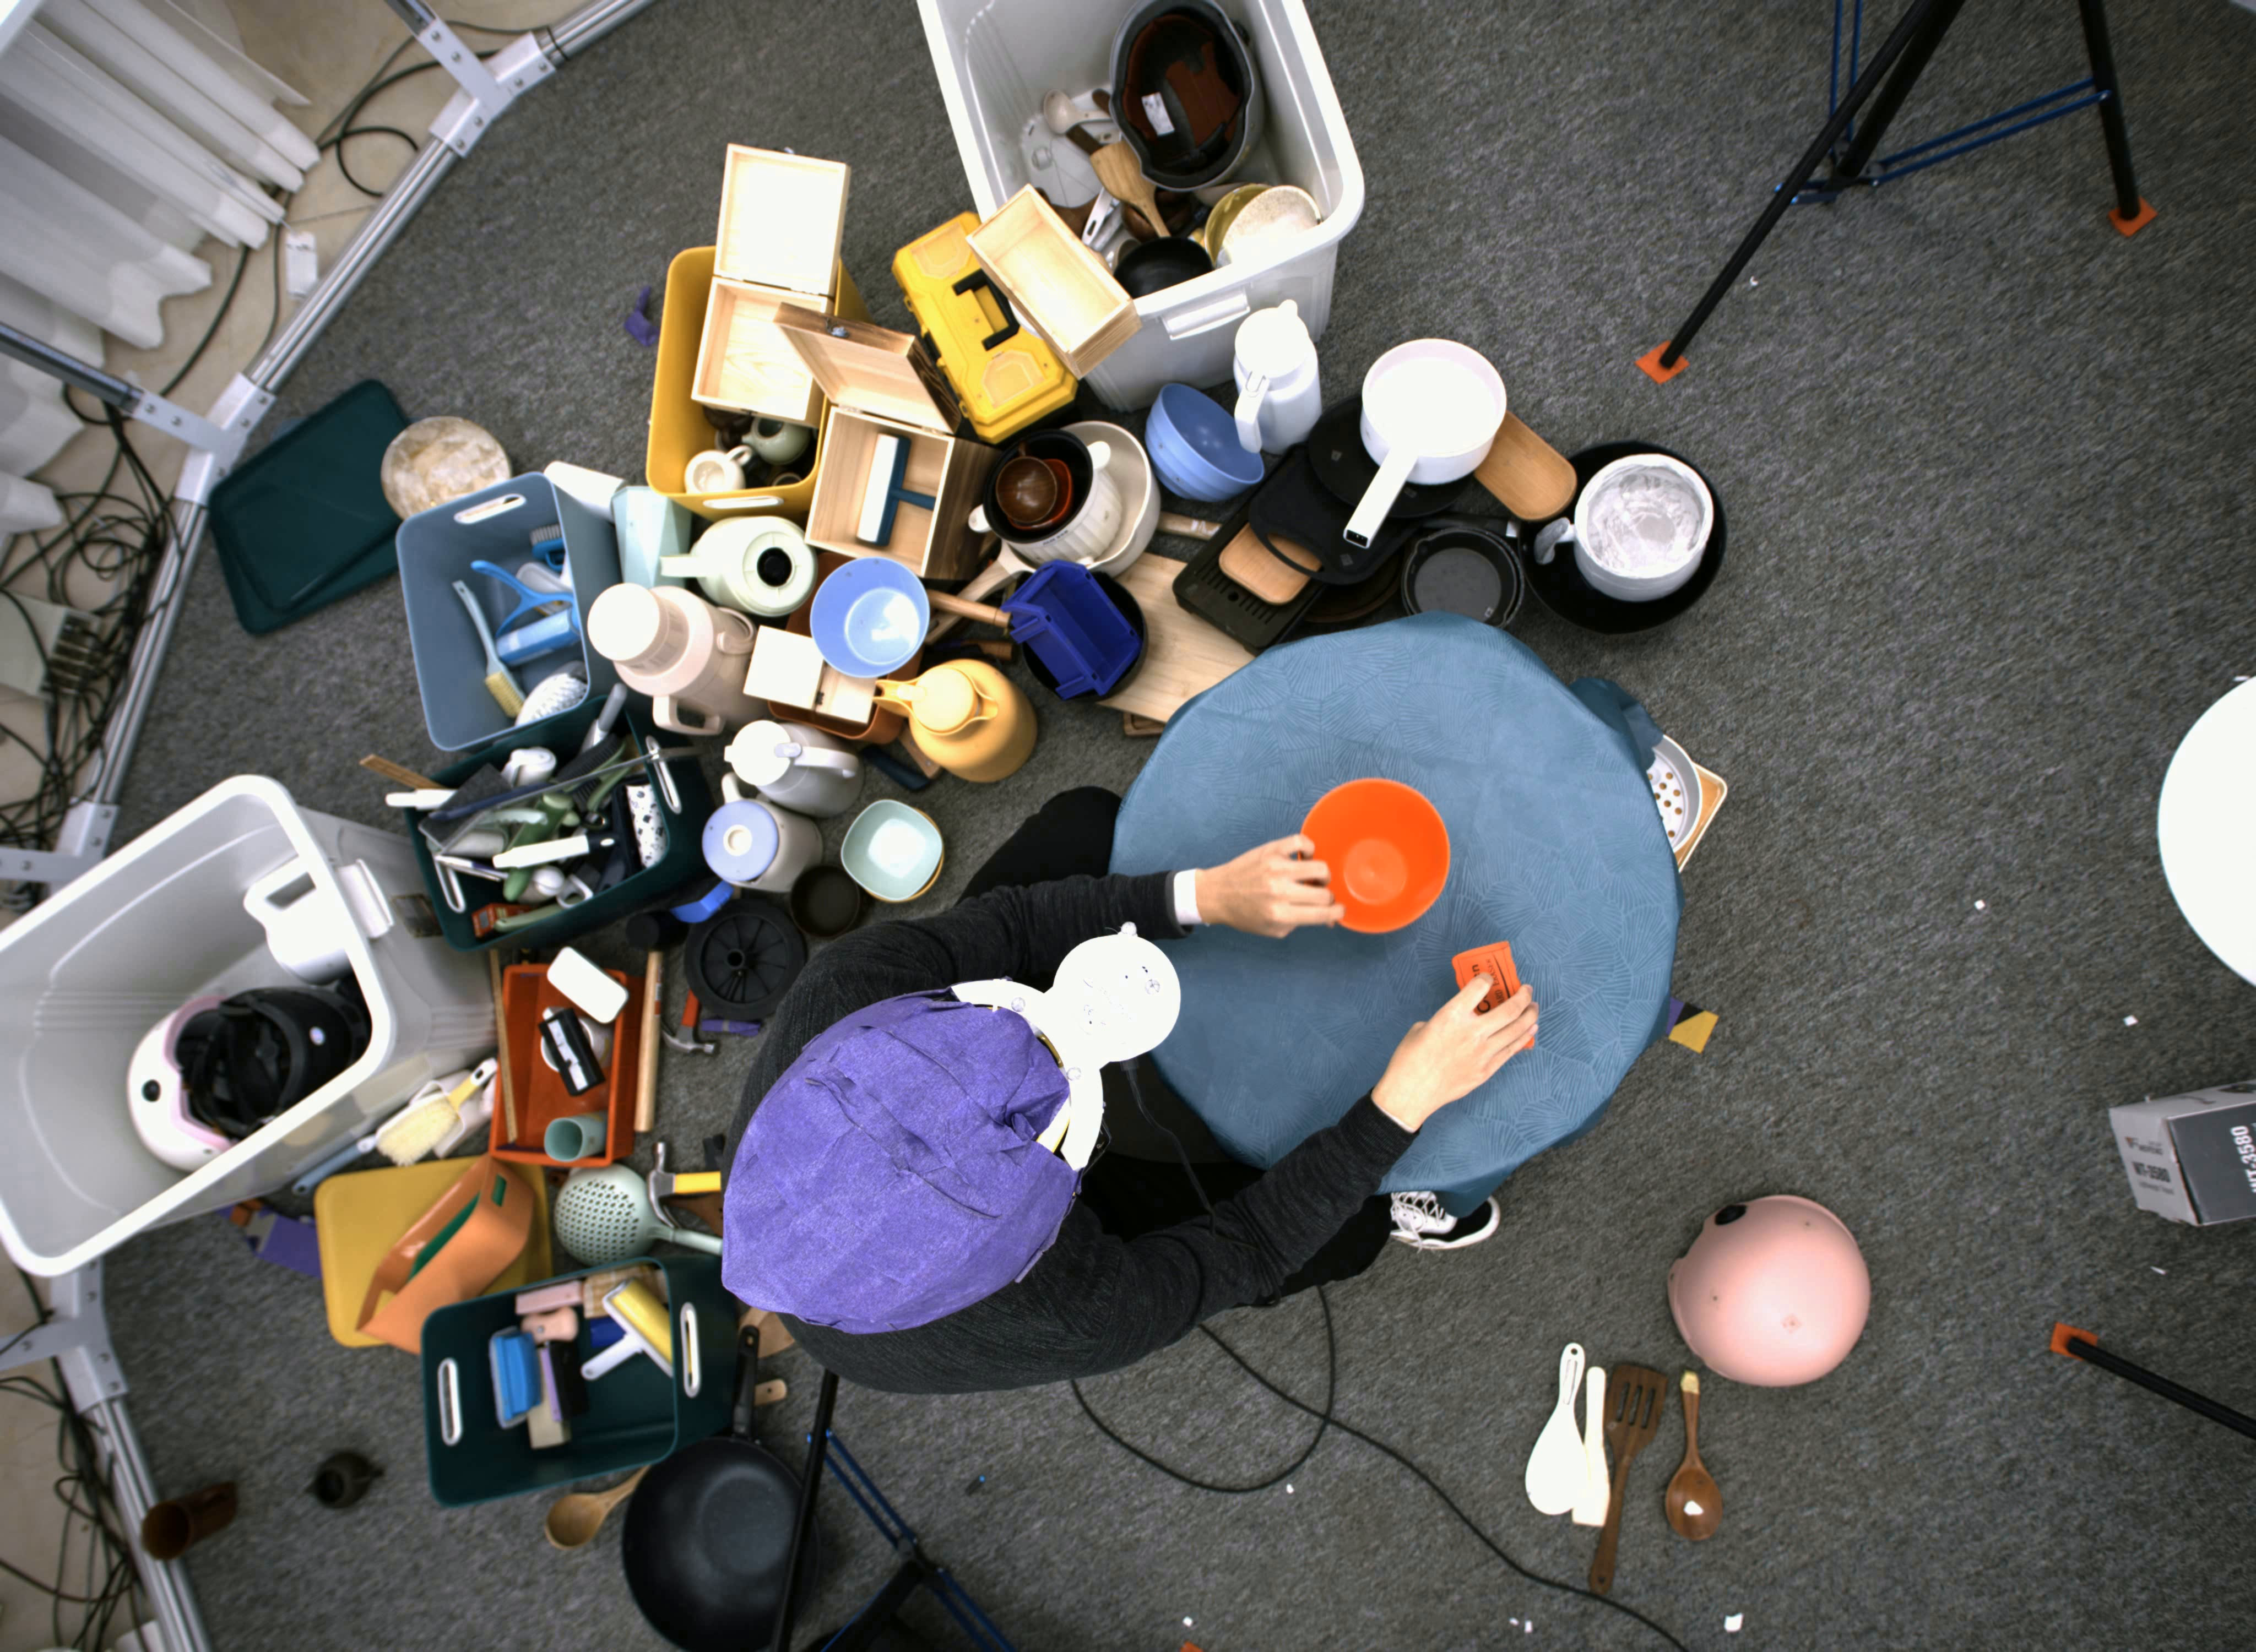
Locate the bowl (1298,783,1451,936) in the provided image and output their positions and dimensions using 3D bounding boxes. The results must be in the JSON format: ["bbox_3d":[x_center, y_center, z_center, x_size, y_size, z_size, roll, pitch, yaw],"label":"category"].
[{"bbox_3d":[0.245,0.036,1.380,0.148,0.105,0.147,-1,85,8],"label":"bowl"}]

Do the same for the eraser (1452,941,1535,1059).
[{"bbox_3d":[0.357,0.168,1.346,0.059,0.023,0.107,-16,85,18],"label":"eraser"}]
